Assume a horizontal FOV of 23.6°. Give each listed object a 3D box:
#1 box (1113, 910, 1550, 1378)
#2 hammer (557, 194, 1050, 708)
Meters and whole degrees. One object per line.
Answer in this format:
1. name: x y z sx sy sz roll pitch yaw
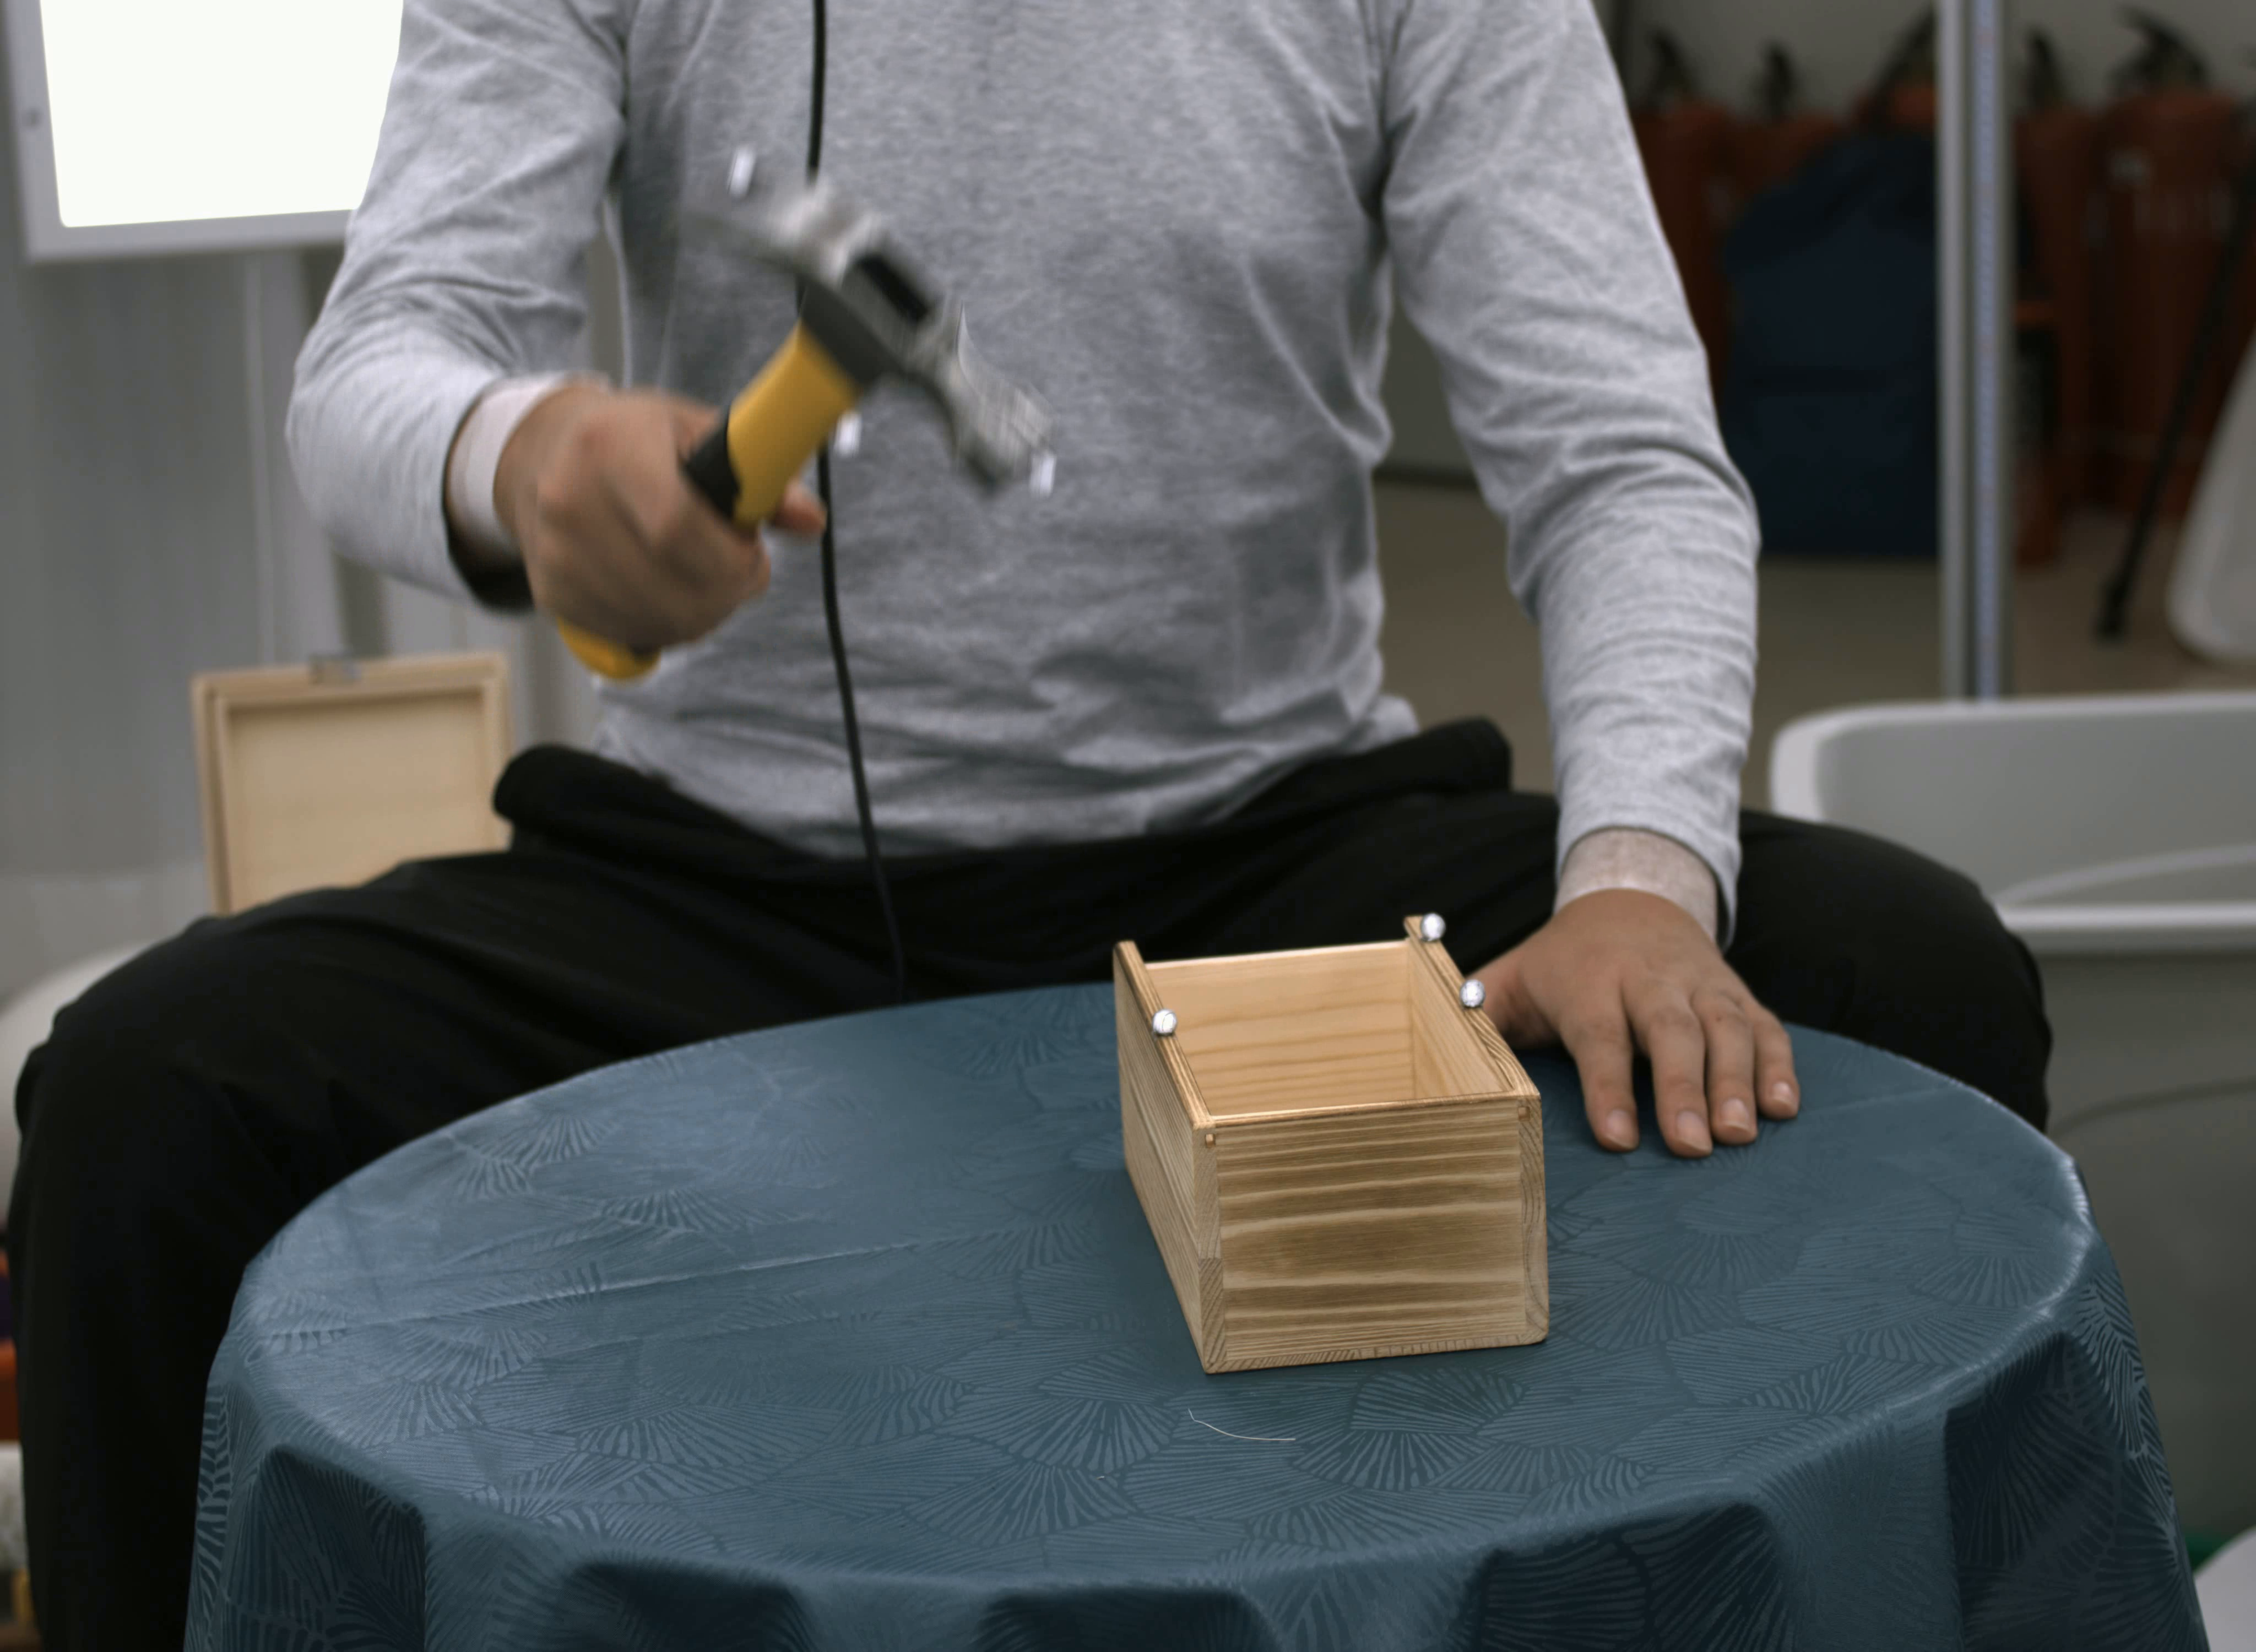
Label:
1. box: 0.061 0.096 1.691 0.106 0.081 0.212 -6 14 -5
2. hammer: -0.127 -0.103 1.732 0.032 0.131 0.341 -46 2 -25
